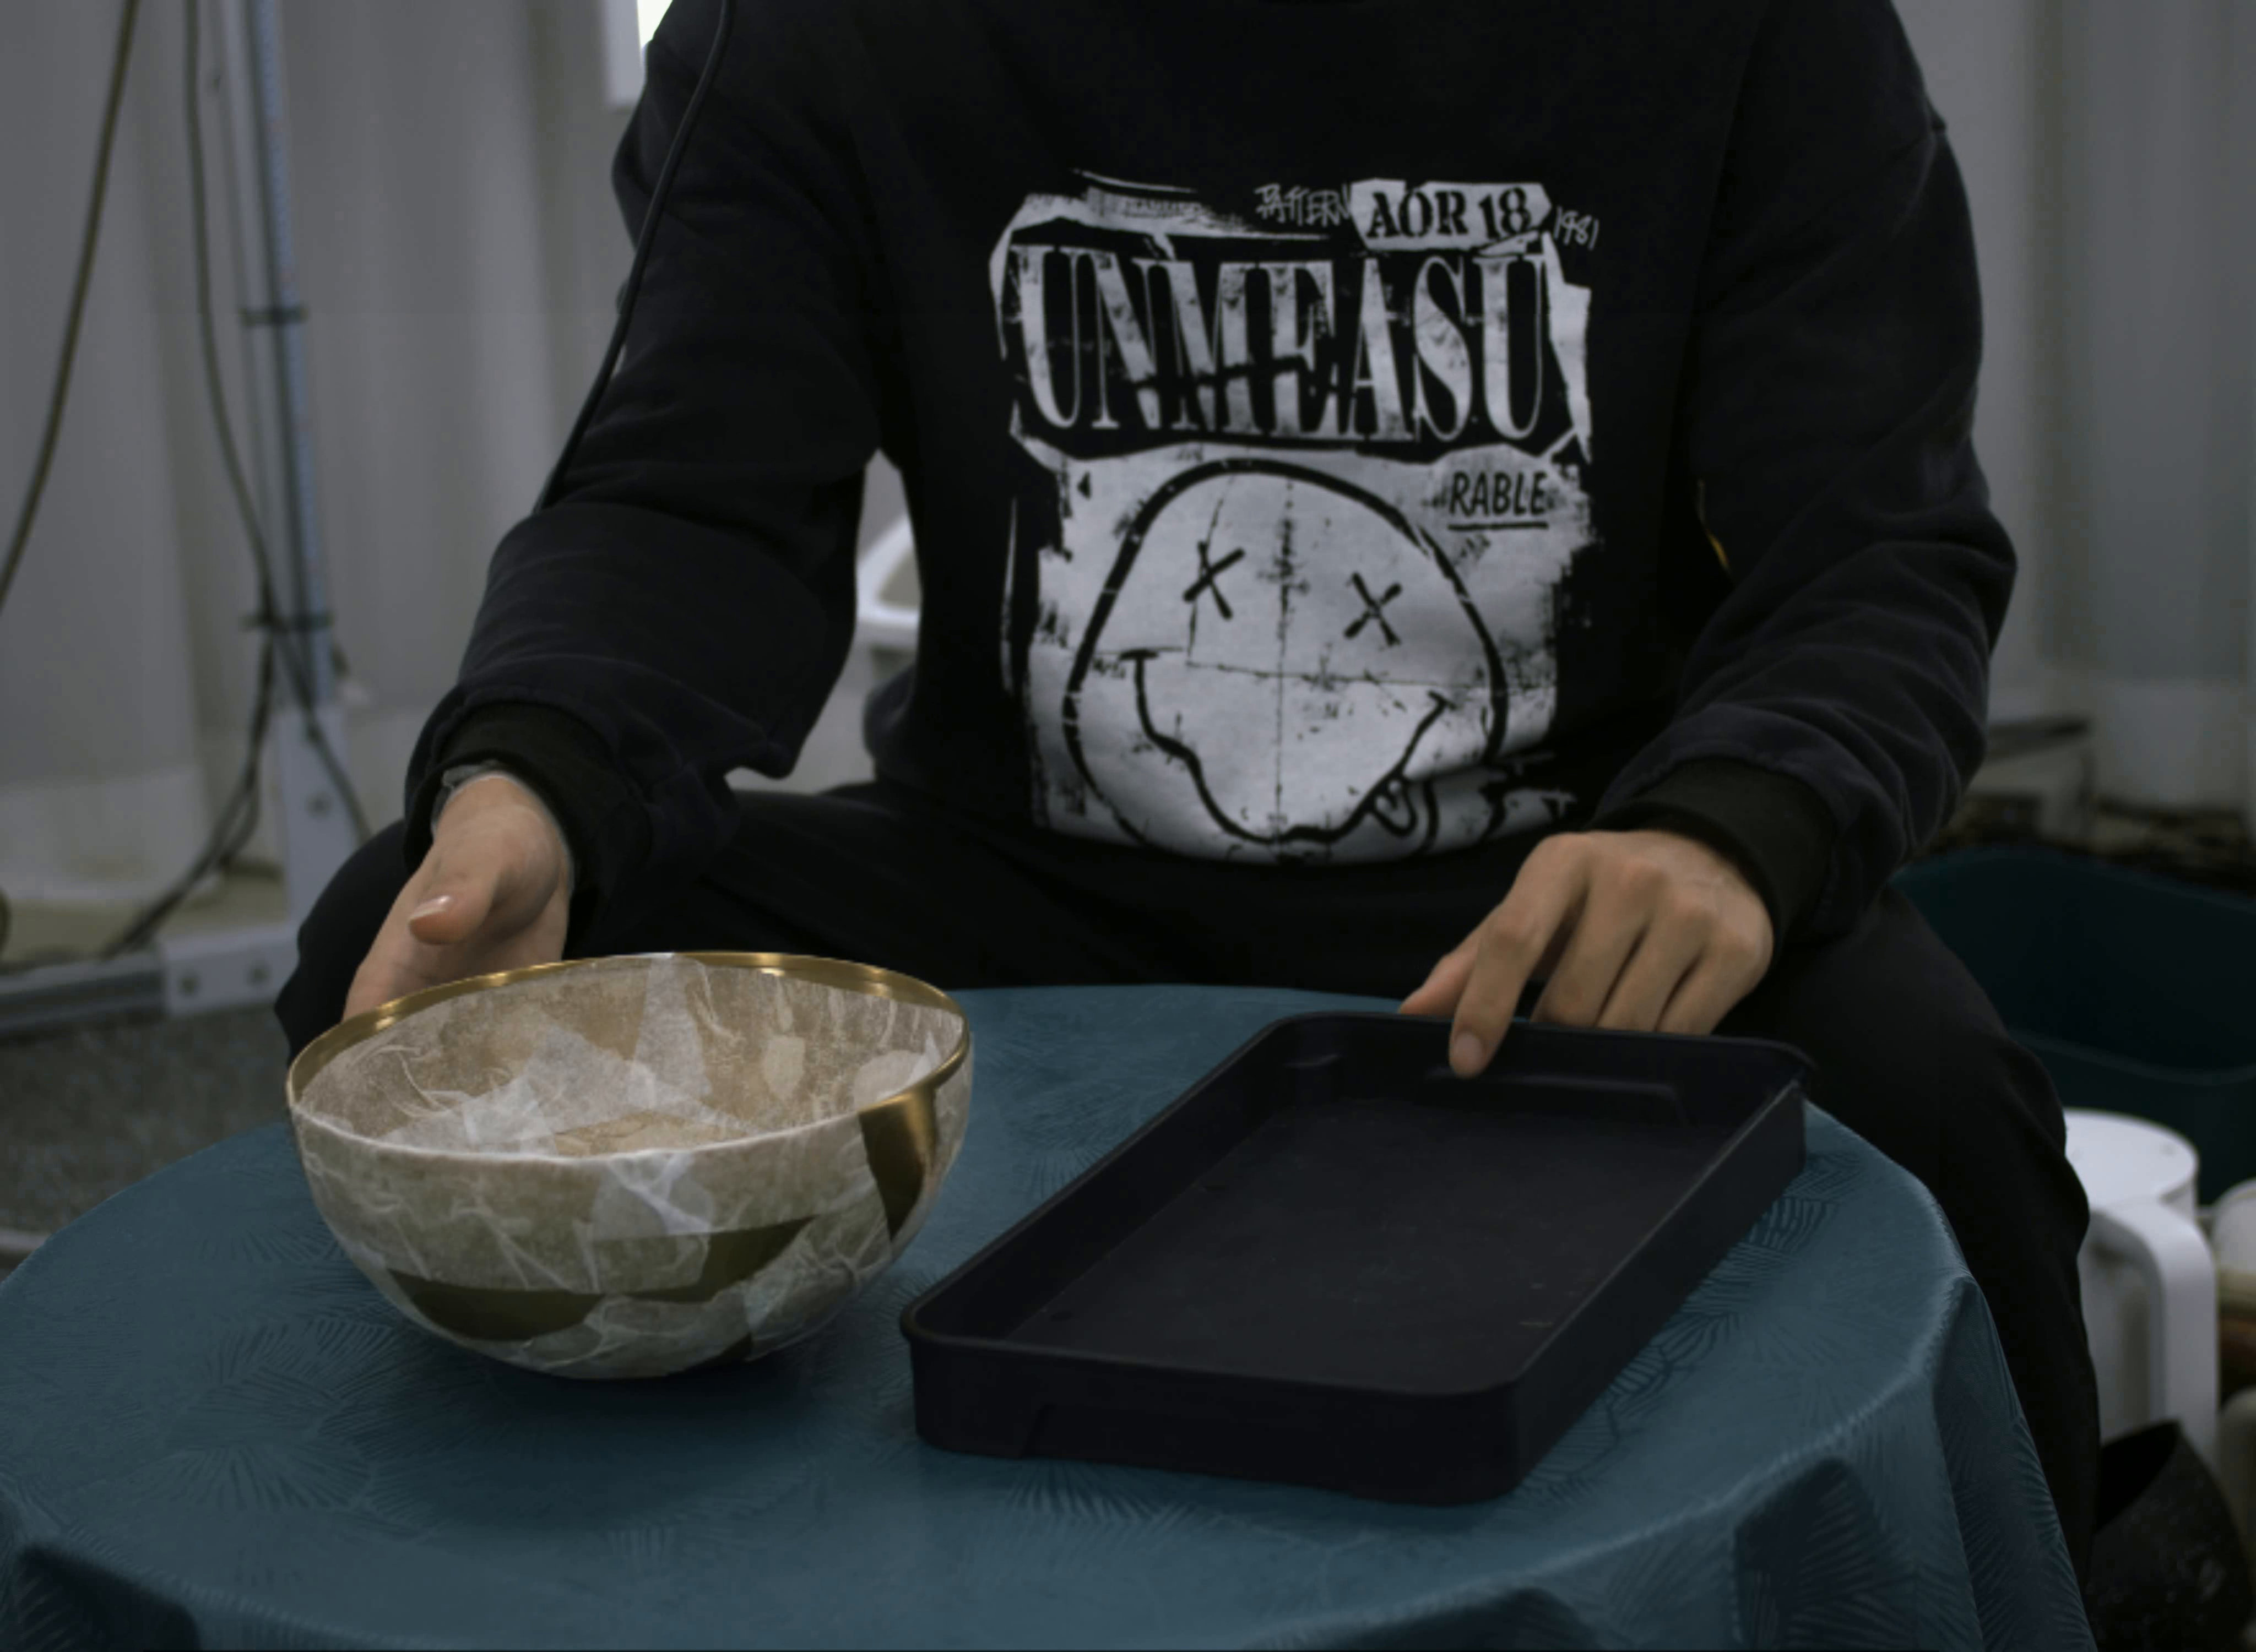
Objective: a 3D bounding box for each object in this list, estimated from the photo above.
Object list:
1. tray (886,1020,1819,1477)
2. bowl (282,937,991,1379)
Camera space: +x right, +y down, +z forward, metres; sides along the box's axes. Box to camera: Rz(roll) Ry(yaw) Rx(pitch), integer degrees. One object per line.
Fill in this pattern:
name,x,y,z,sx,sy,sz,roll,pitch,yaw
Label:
tray,0.075,0.118,1.608,0.184,0.037,0.318,2,14,25
bowl,-0.139,0.106,1.598,0.214,0.094,0.216,-4,14,1
